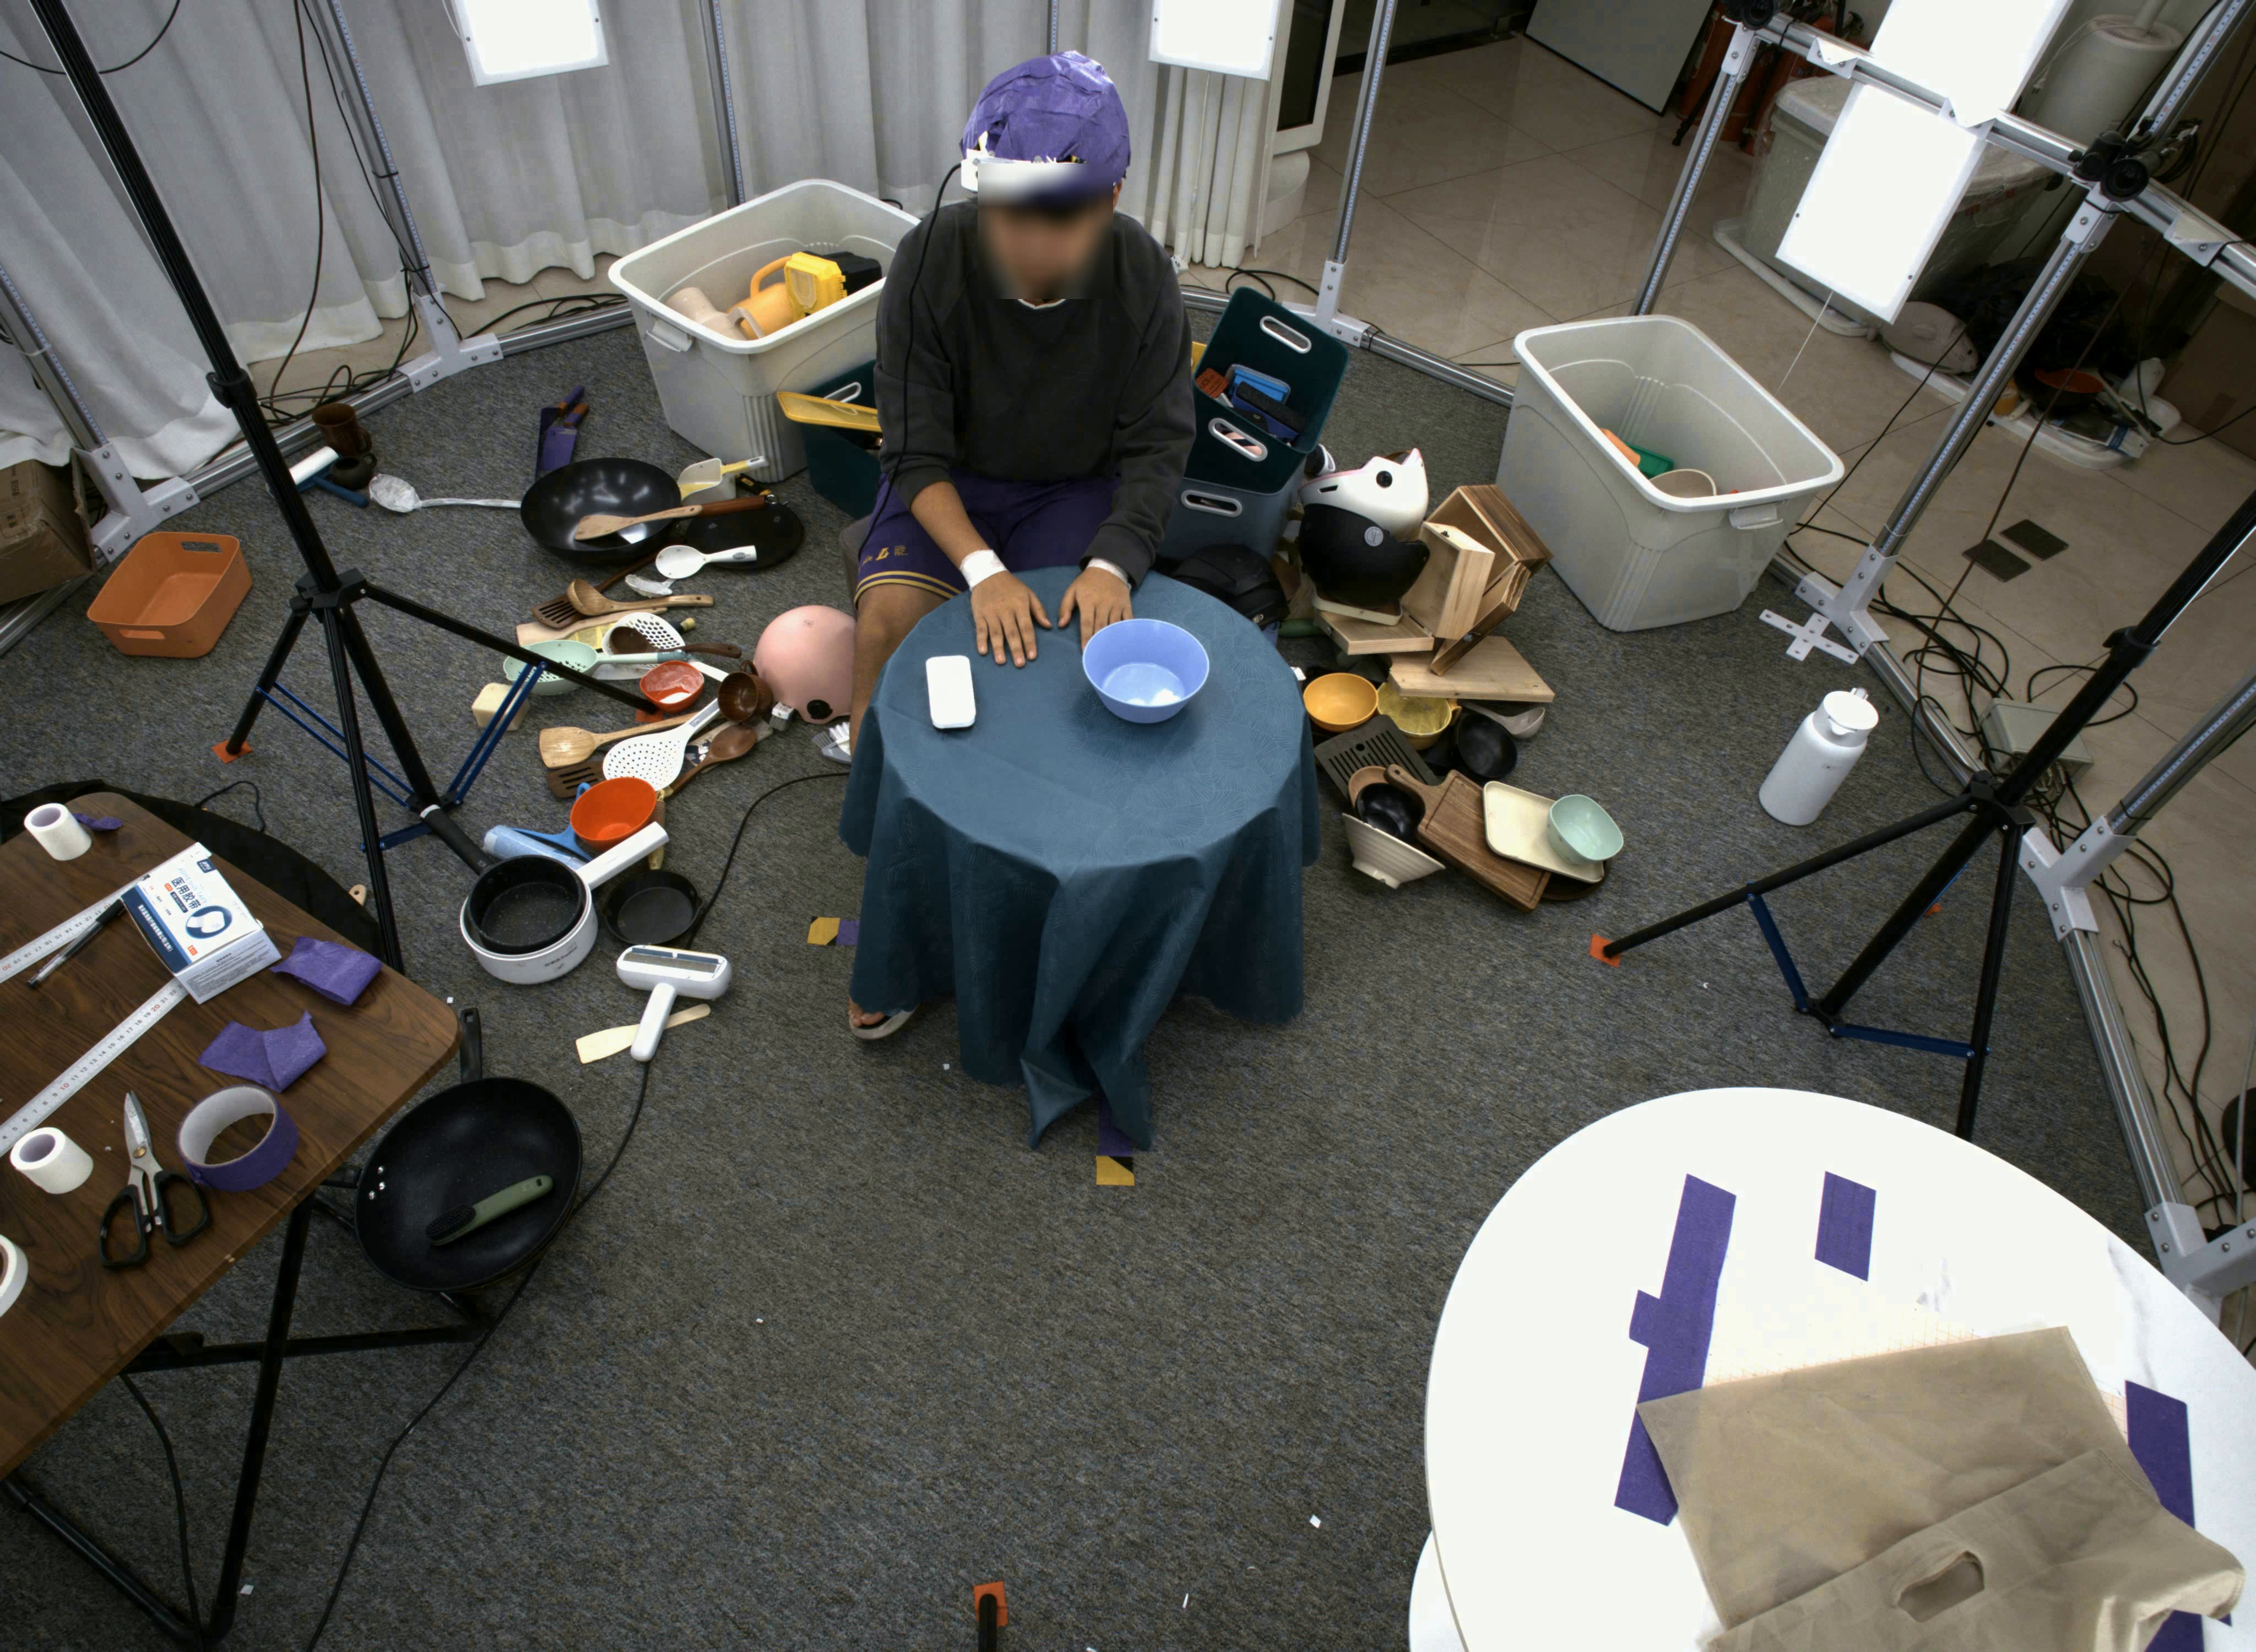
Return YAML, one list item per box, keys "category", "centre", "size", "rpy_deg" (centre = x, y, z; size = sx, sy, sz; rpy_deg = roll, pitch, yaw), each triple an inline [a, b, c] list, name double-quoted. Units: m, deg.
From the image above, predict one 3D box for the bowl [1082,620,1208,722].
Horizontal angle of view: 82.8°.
- category: "bowl"
  centre: [0.022, -0.209, 1.803]
  size: [0.176, 0.068, 0.180]
  rpy_deg: [2, 49, -3]

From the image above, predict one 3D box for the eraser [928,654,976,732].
- category: "eraser"
  centre: [-0.245, -0.188, 1.793]
  size: [0.063, 0.034, 0.134]
  rpy_deg: [-3, 51, -8]
